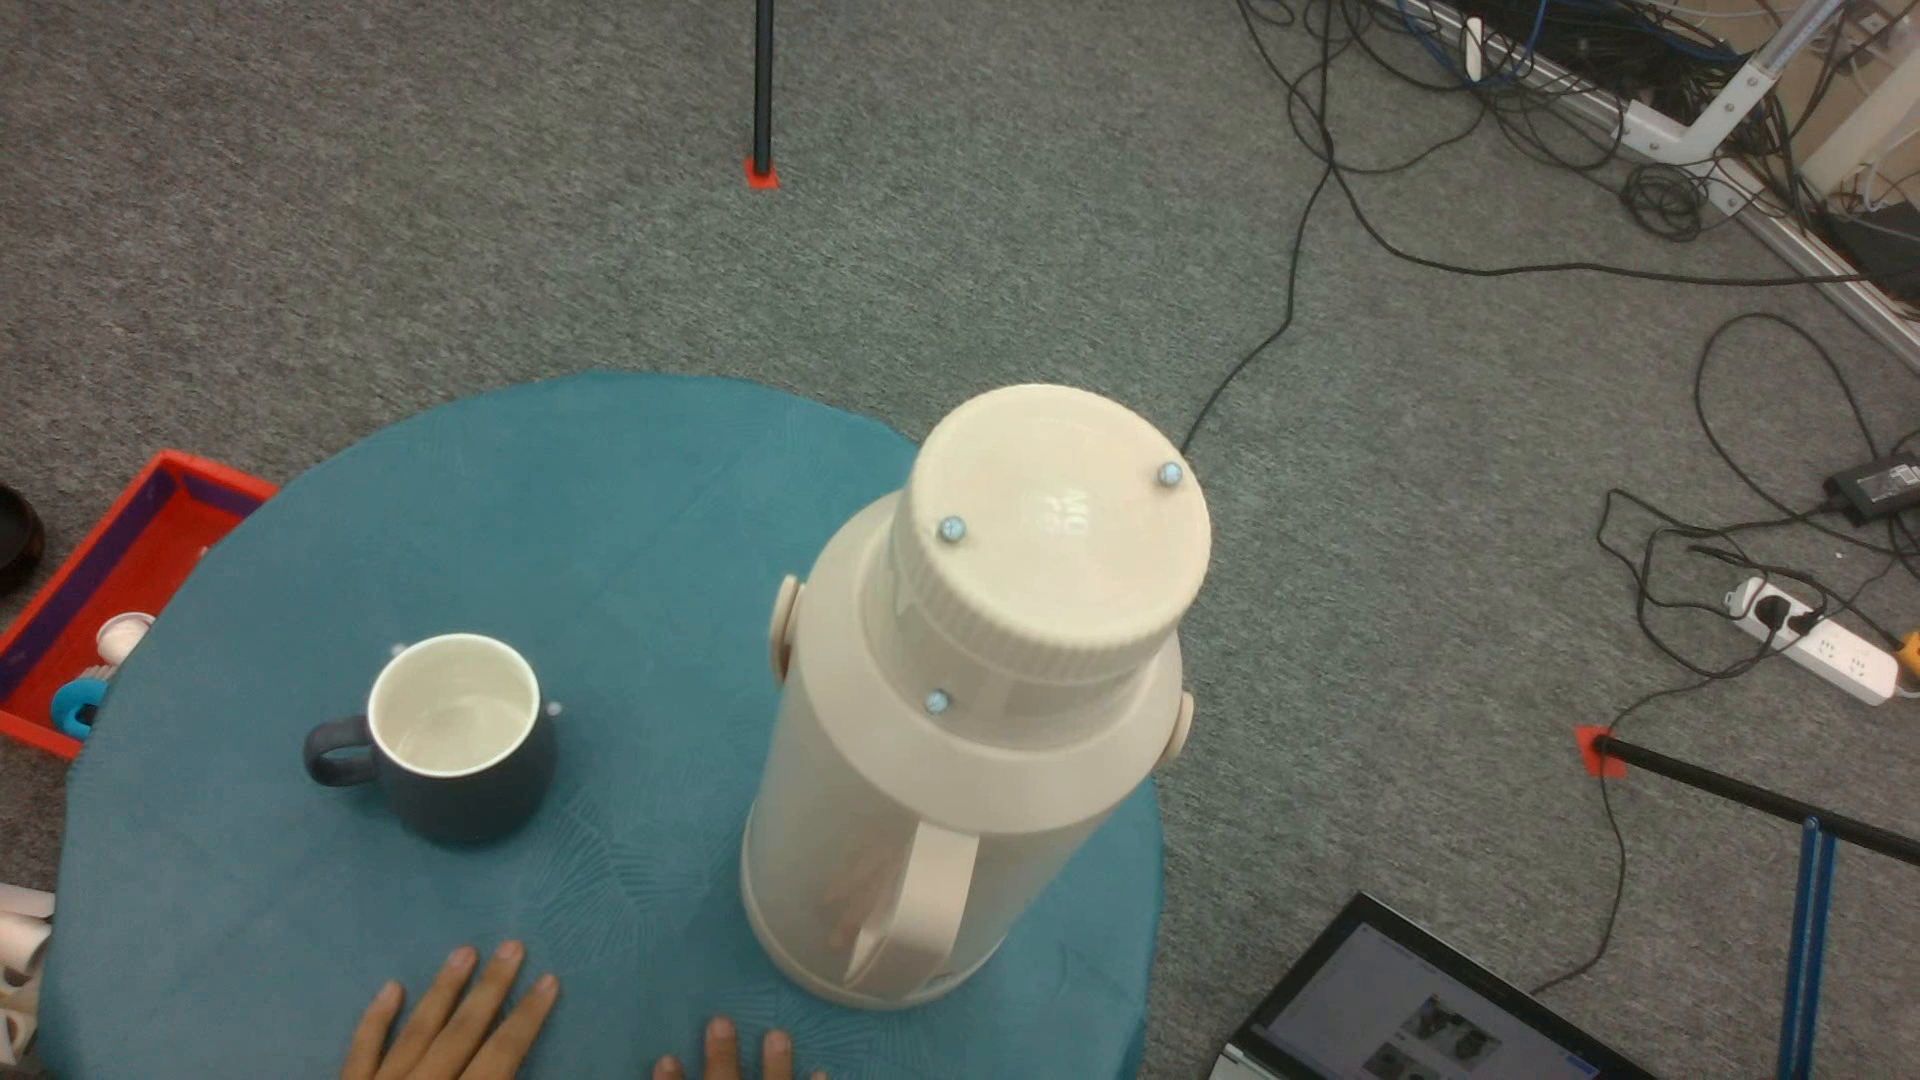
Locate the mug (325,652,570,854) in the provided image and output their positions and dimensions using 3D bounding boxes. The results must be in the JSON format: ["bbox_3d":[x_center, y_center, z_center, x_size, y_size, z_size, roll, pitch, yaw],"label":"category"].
[{"bbox_3d":[-0.275,0.116,0.742,0.123,0.089,0.094,-7,61,-17],"label":"mug"}]

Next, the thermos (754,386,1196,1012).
[{"bbox_3d":[-0.009,0.103,0.628,0.175,0.404,0.208,15,56,-4],"label":"thermos"}]
